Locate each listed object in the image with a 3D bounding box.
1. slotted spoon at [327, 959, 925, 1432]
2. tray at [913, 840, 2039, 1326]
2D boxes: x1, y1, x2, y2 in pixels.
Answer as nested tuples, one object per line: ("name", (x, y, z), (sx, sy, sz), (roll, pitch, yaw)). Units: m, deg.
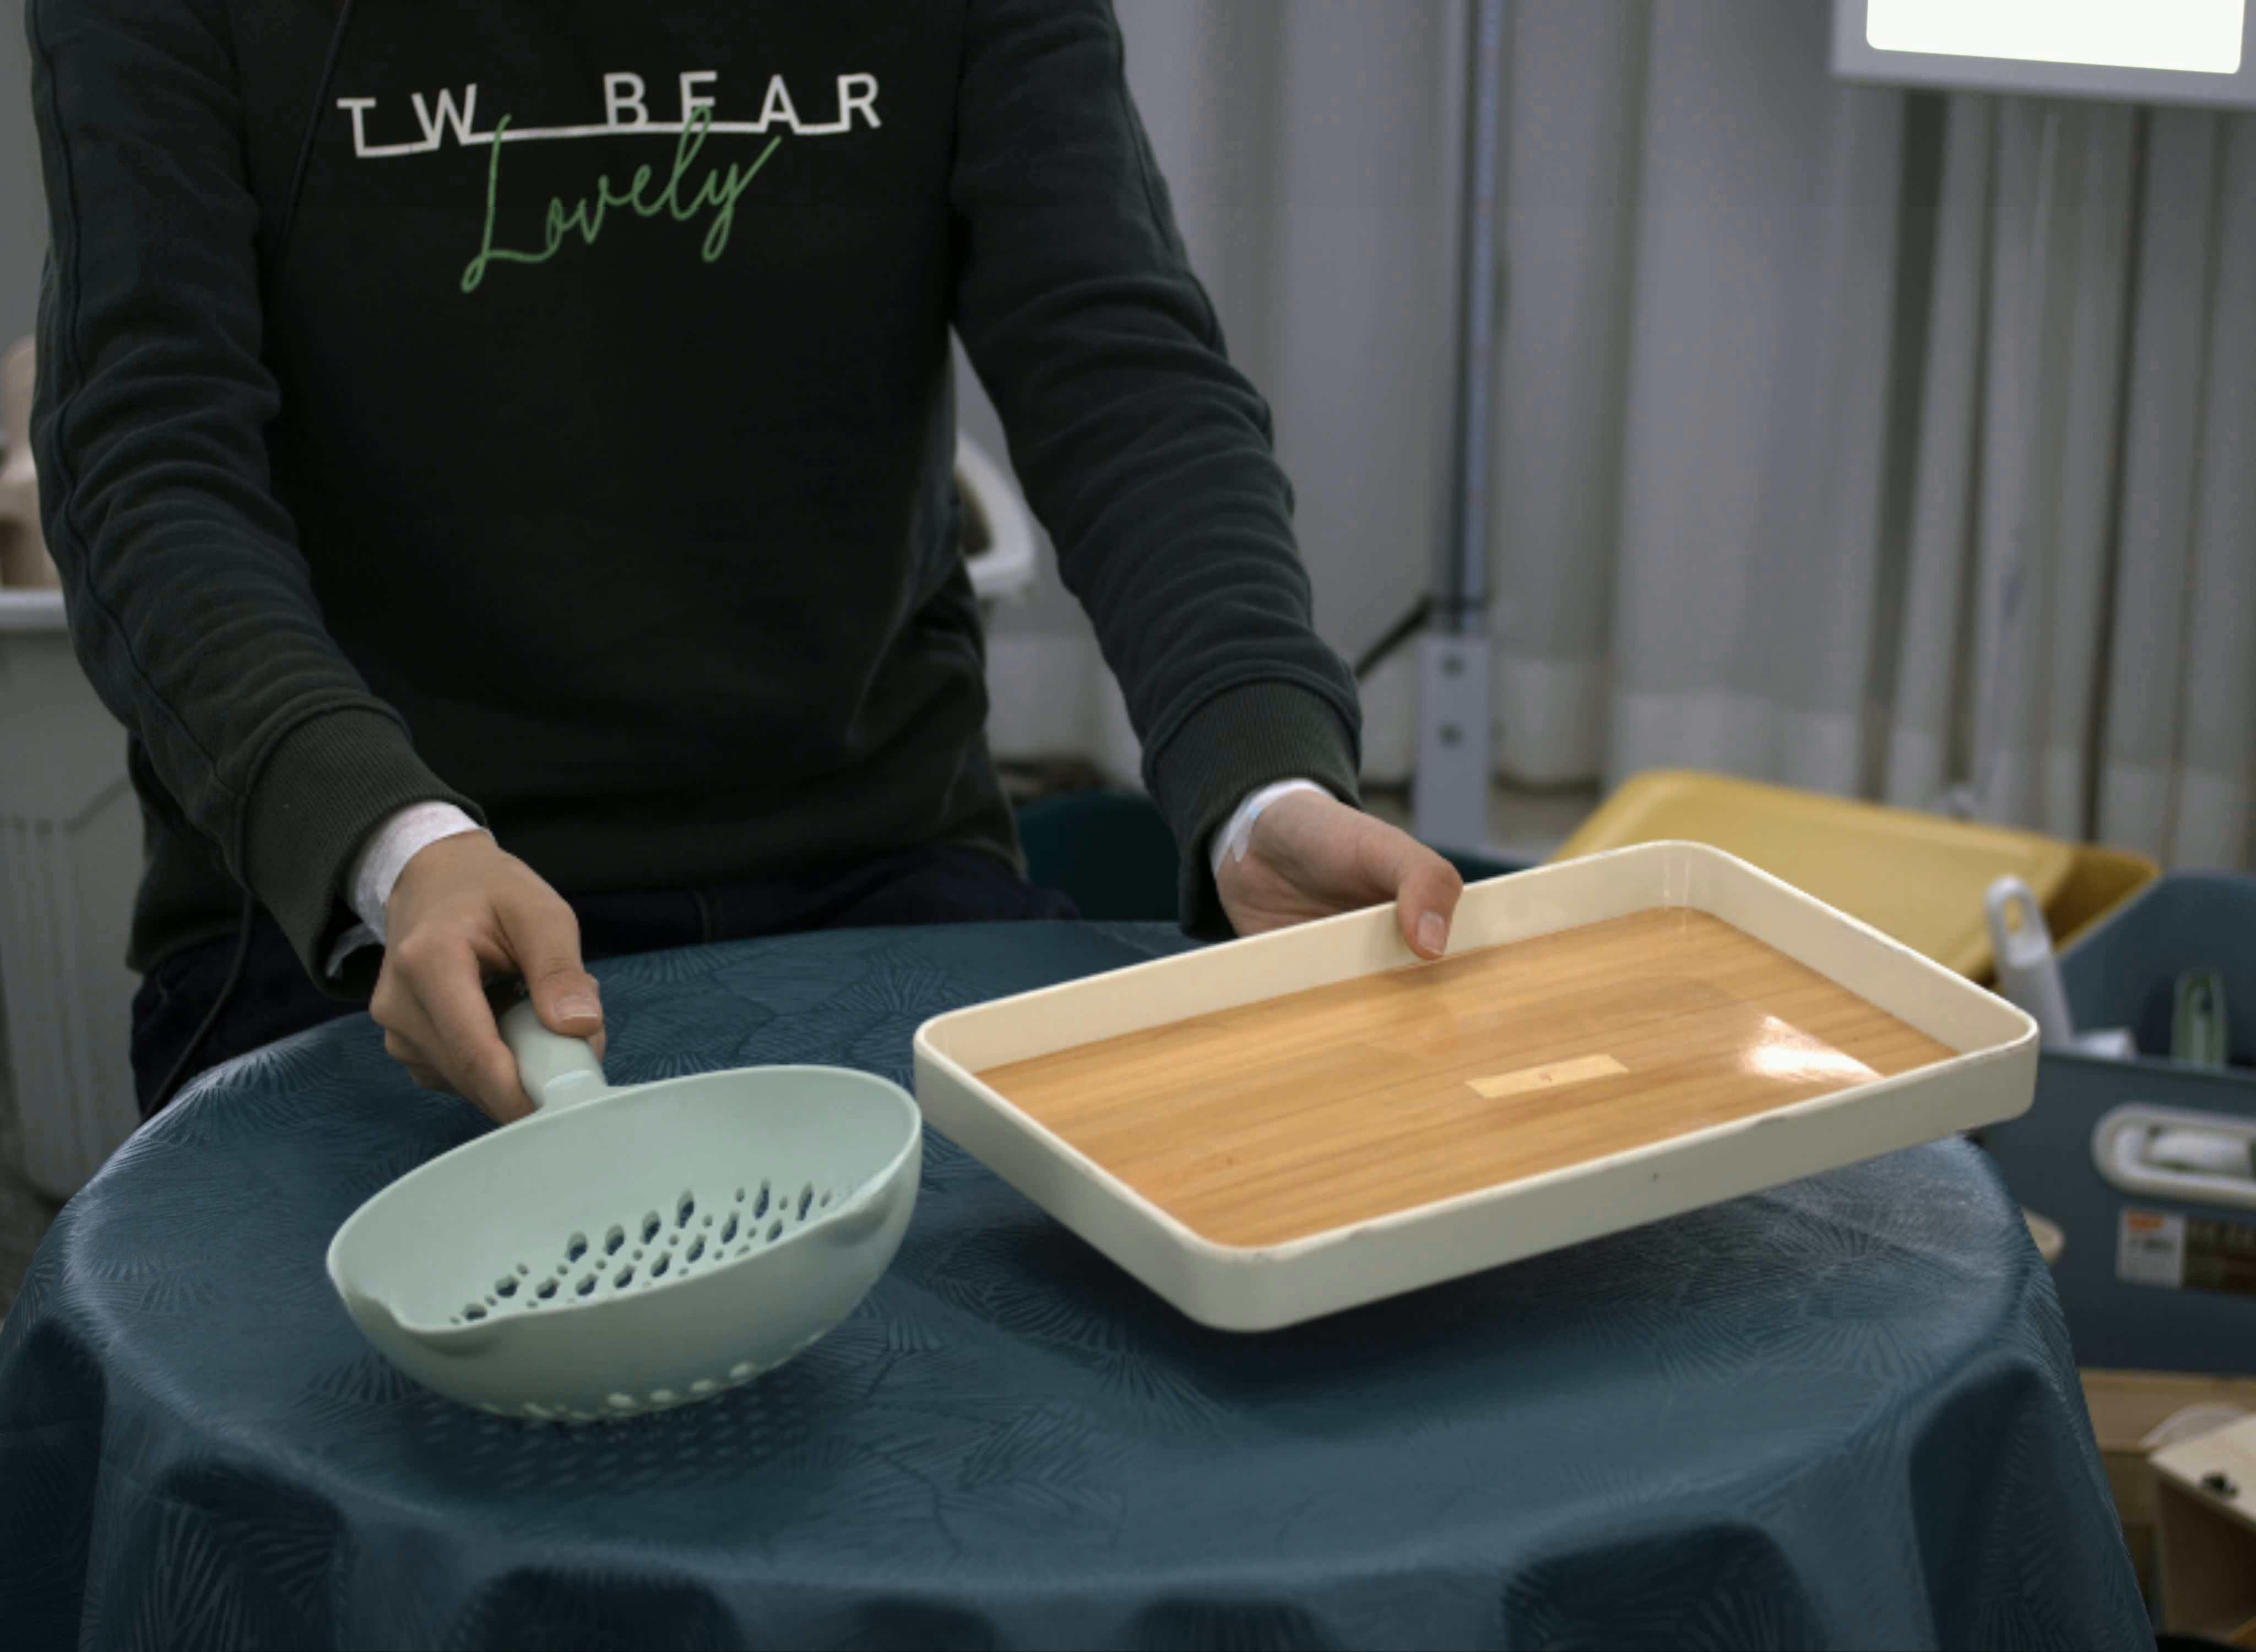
("slotted spoon", (-0.158, 0.089, 1.540), (0.169, 0.076, 0.355), (-15, 25, -10))
("tray", (0.105, 0.072, 1.585), (0.301, 0.027, 0.189), (-12, 25, -30))
